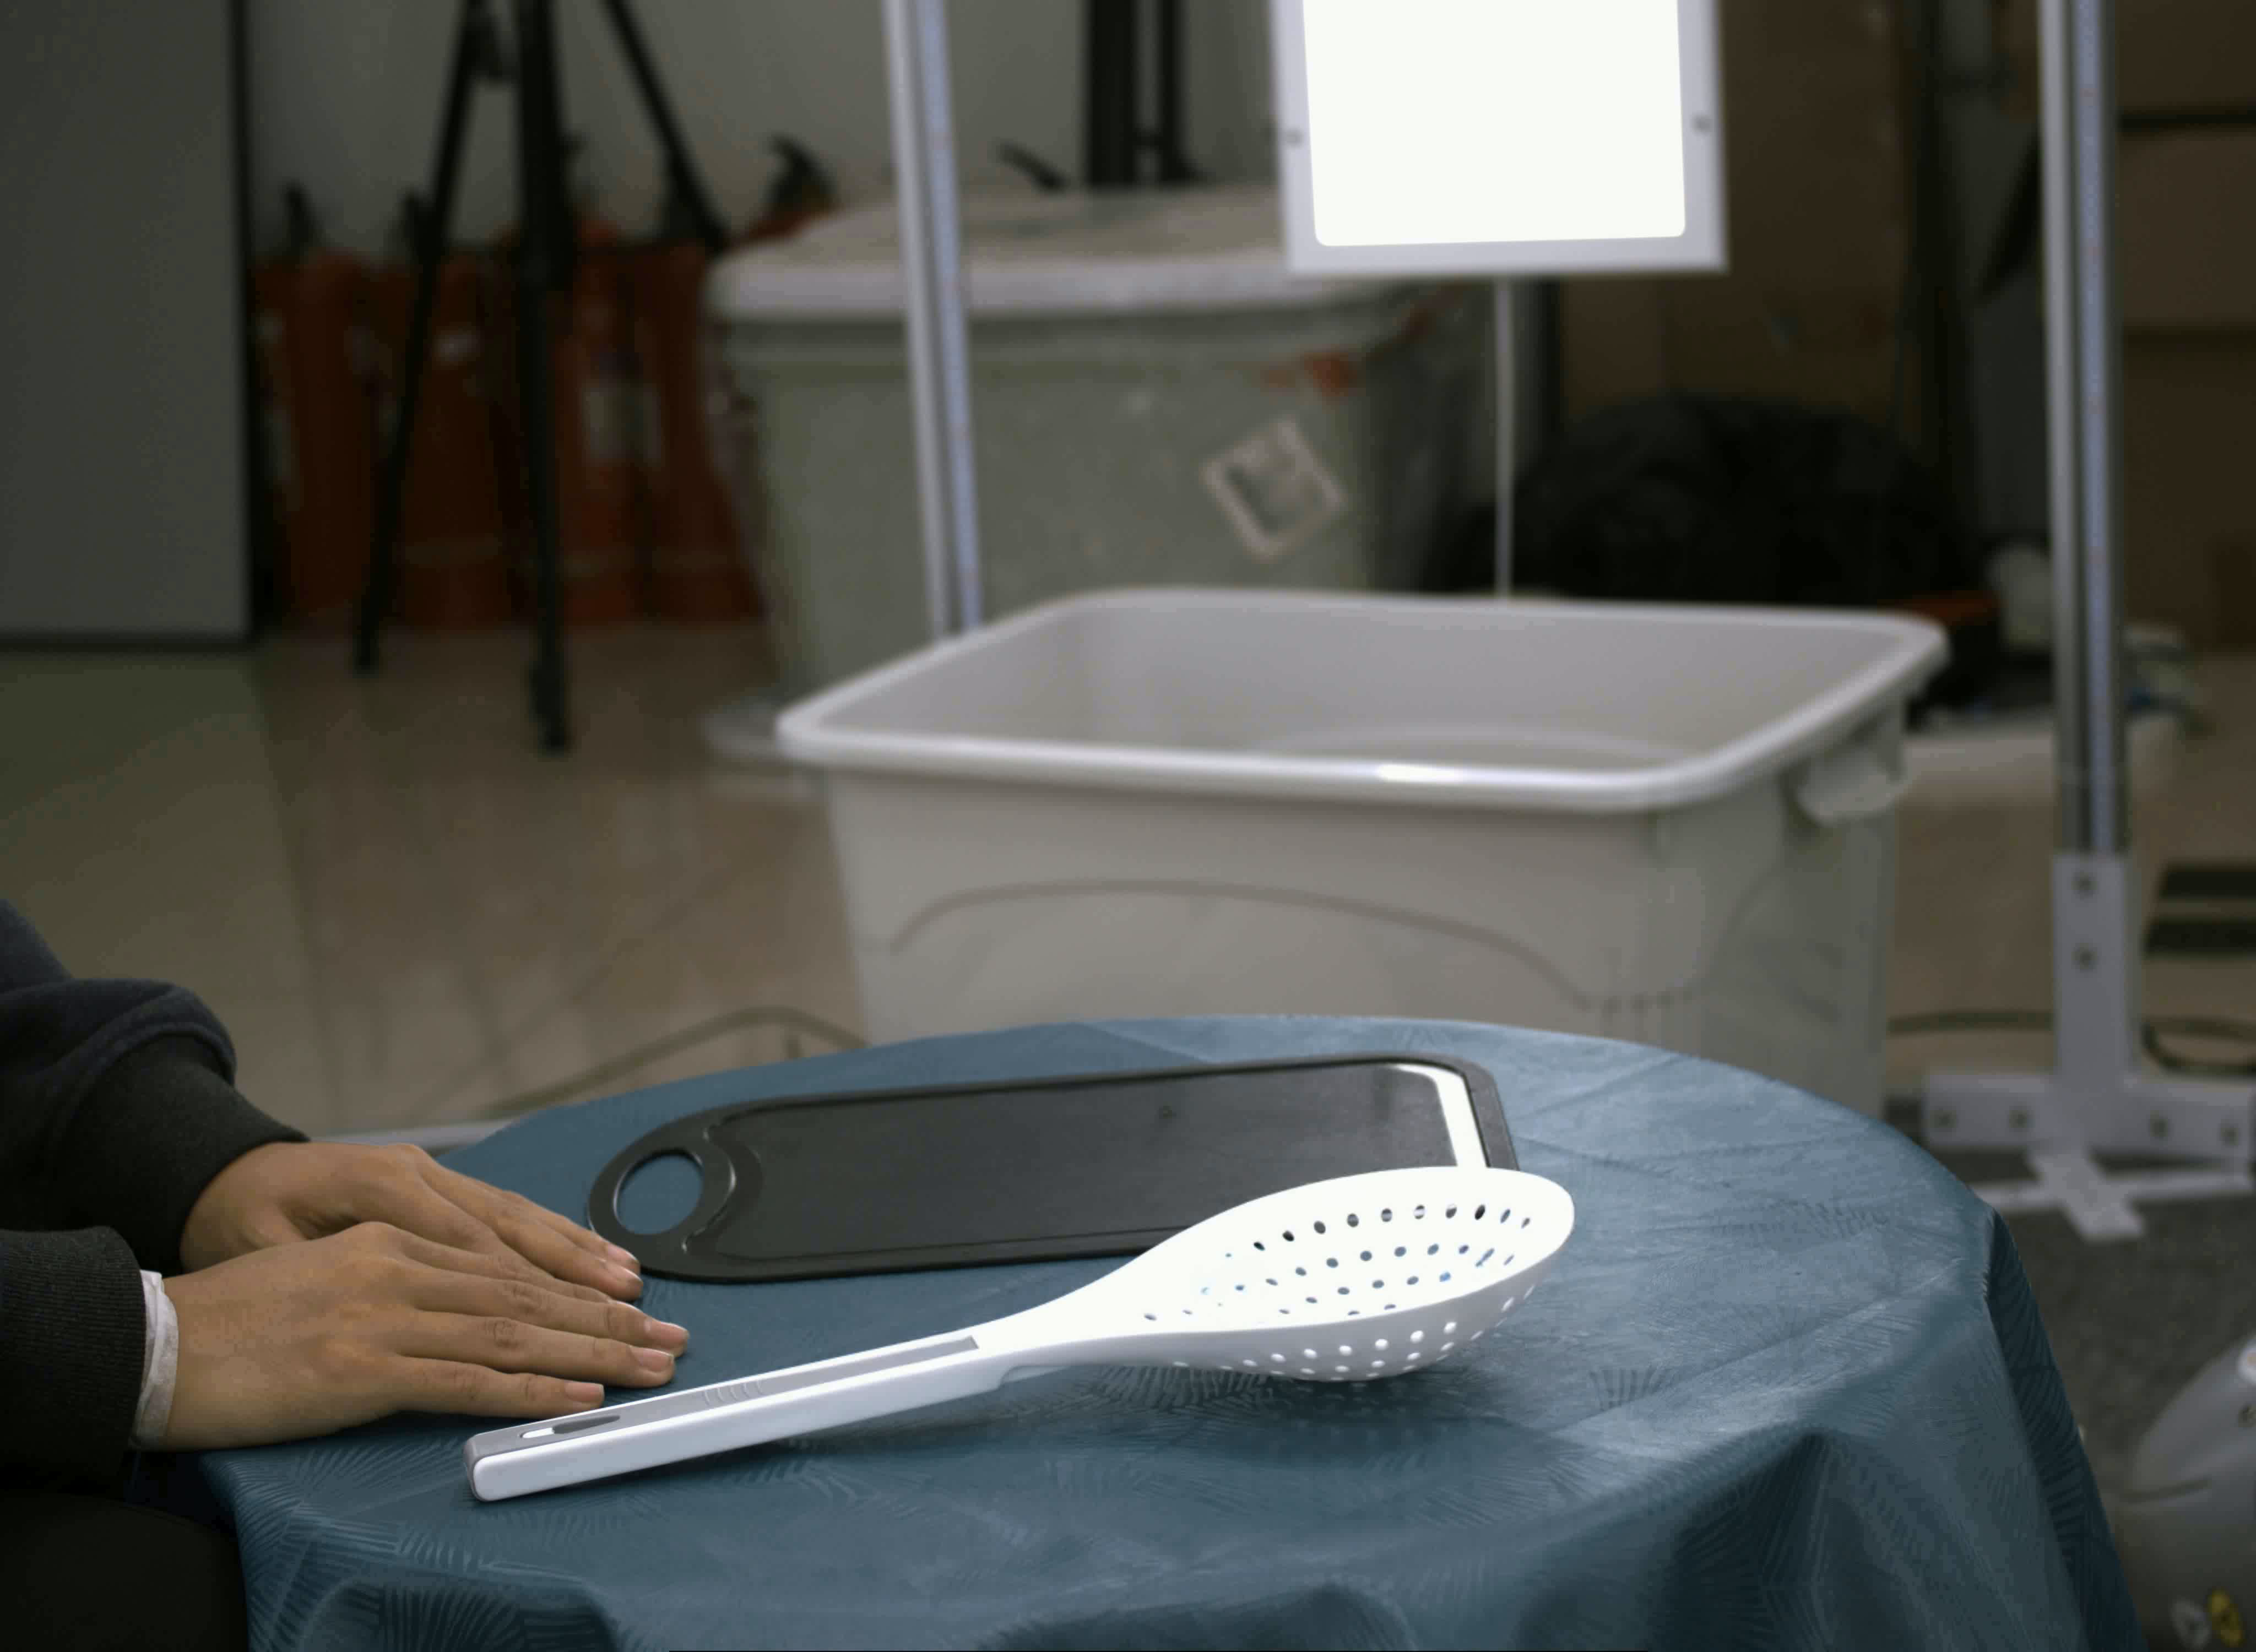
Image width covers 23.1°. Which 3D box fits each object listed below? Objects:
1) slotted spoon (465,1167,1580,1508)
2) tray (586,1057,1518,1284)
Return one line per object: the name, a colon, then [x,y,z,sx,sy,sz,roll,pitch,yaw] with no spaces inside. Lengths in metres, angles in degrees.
slotted spoon: [-0.030,0.158,1.681,0.346,0.046,0.137,-8,12,-8]
tray: [-0.028,0.118,1.929,0.325,0.010,0.210,-5,13,3]
